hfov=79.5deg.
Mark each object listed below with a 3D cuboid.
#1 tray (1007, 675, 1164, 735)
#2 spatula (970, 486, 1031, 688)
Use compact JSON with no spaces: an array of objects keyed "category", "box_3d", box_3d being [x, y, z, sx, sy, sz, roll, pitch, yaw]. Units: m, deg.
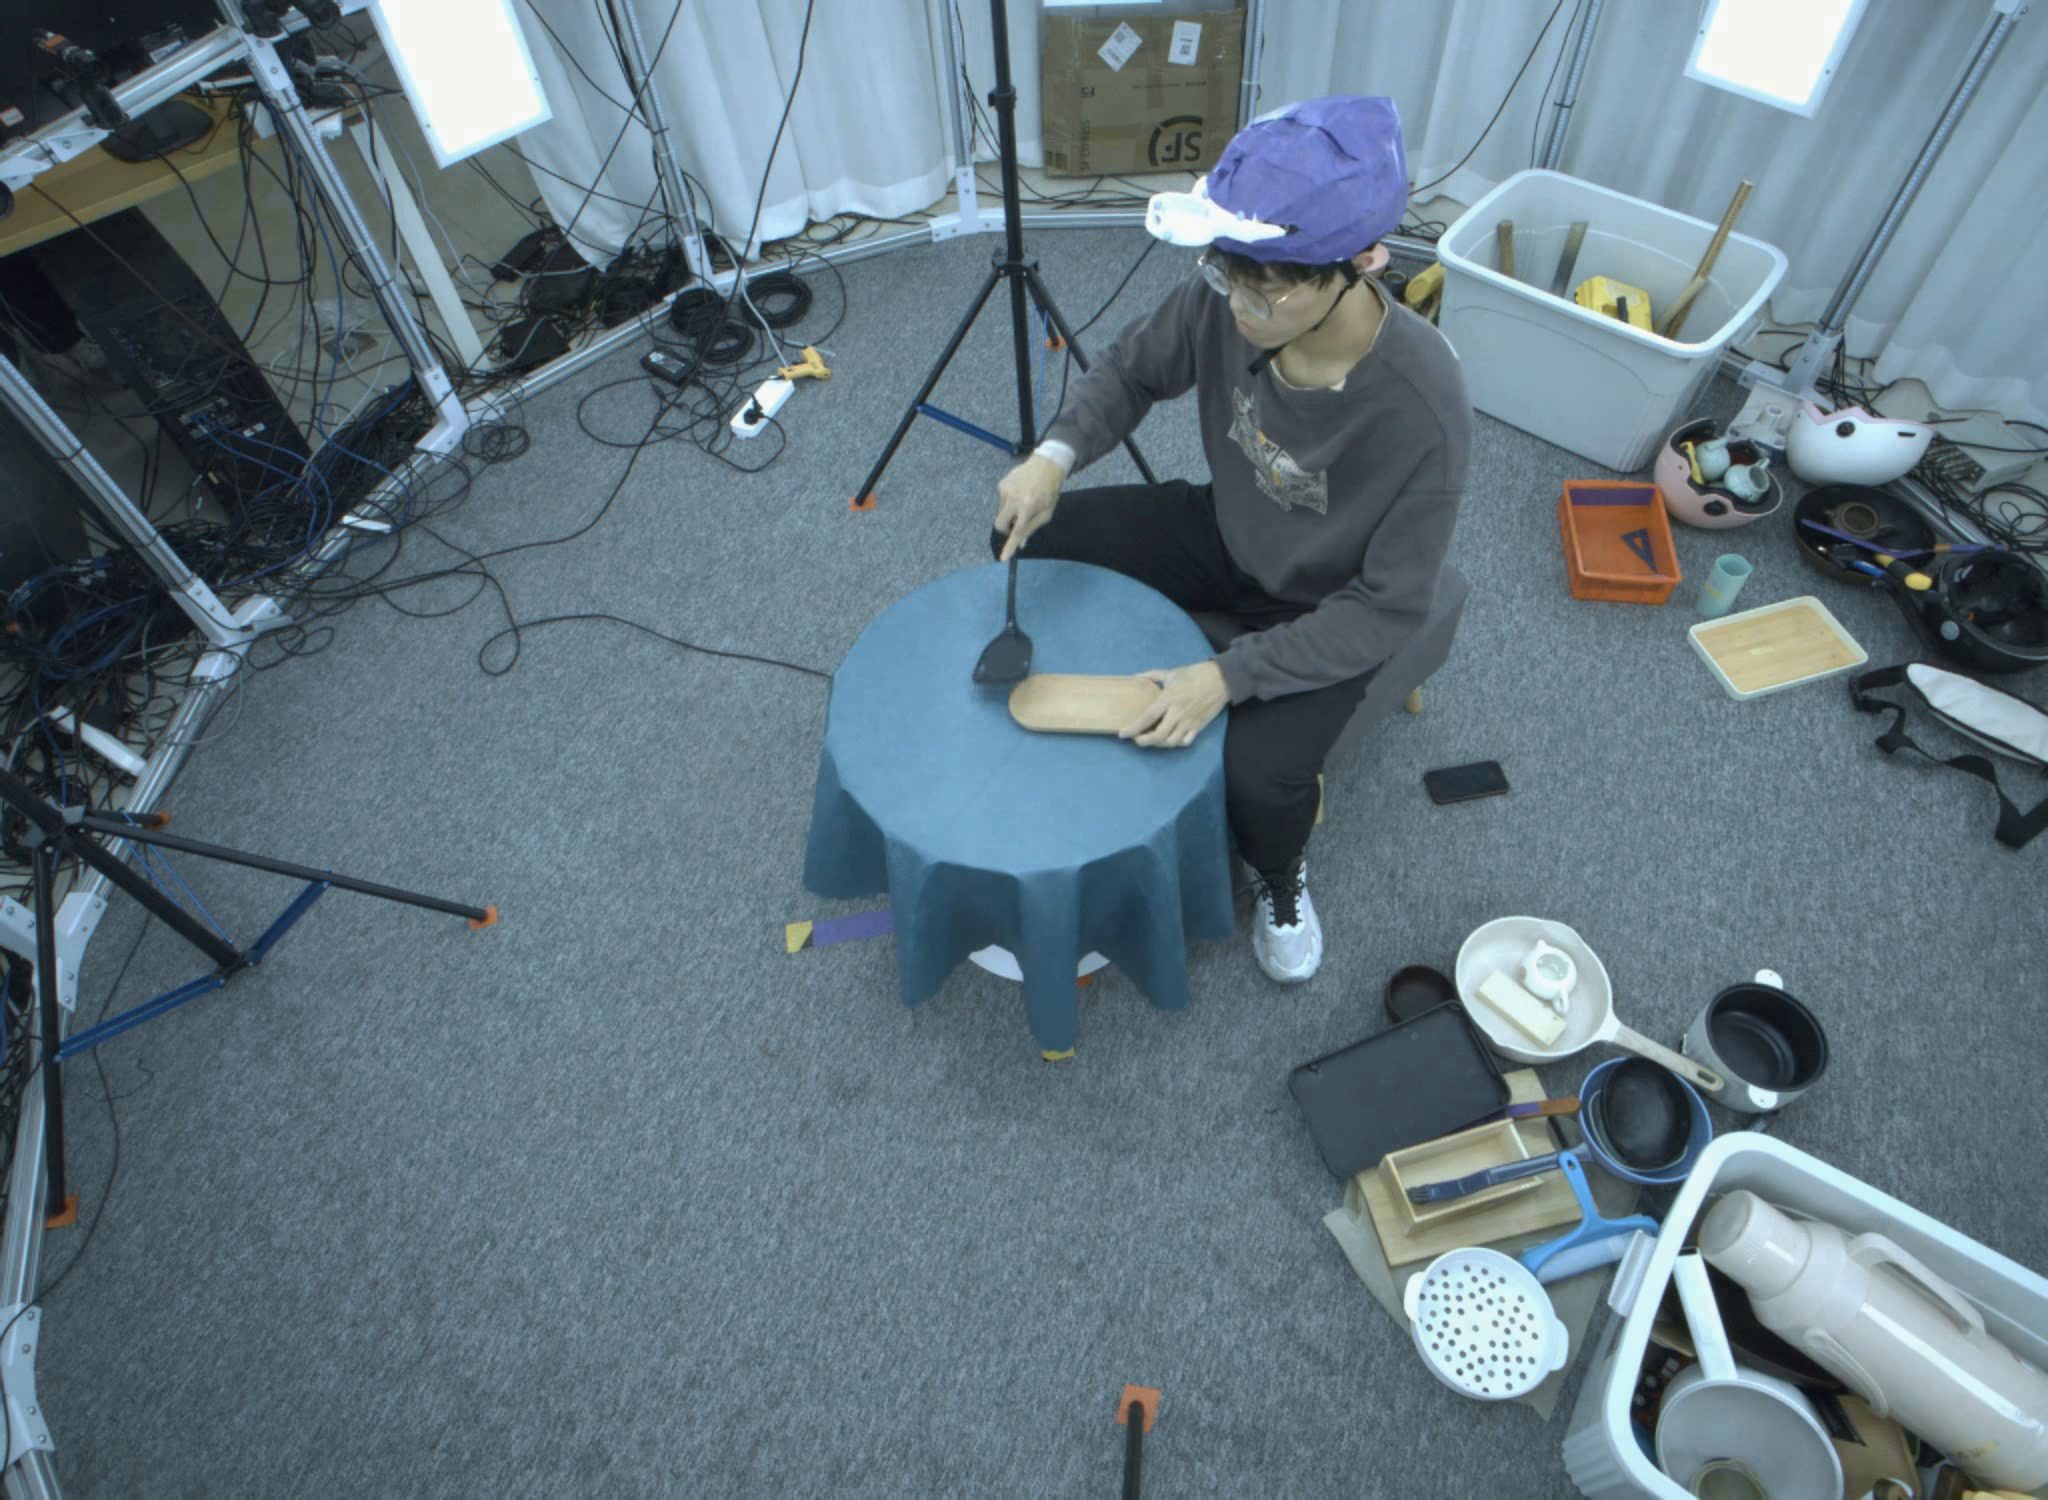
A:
[{"category":"tray","box_3d":[0.090,-0.066,1.815,0.230,0.020,0.101,1,54,7]},{"category":"spatula","box_3d":[-0.024,-0.248,1.842,0.098,0.041,0.325,-2,80,27]}]
